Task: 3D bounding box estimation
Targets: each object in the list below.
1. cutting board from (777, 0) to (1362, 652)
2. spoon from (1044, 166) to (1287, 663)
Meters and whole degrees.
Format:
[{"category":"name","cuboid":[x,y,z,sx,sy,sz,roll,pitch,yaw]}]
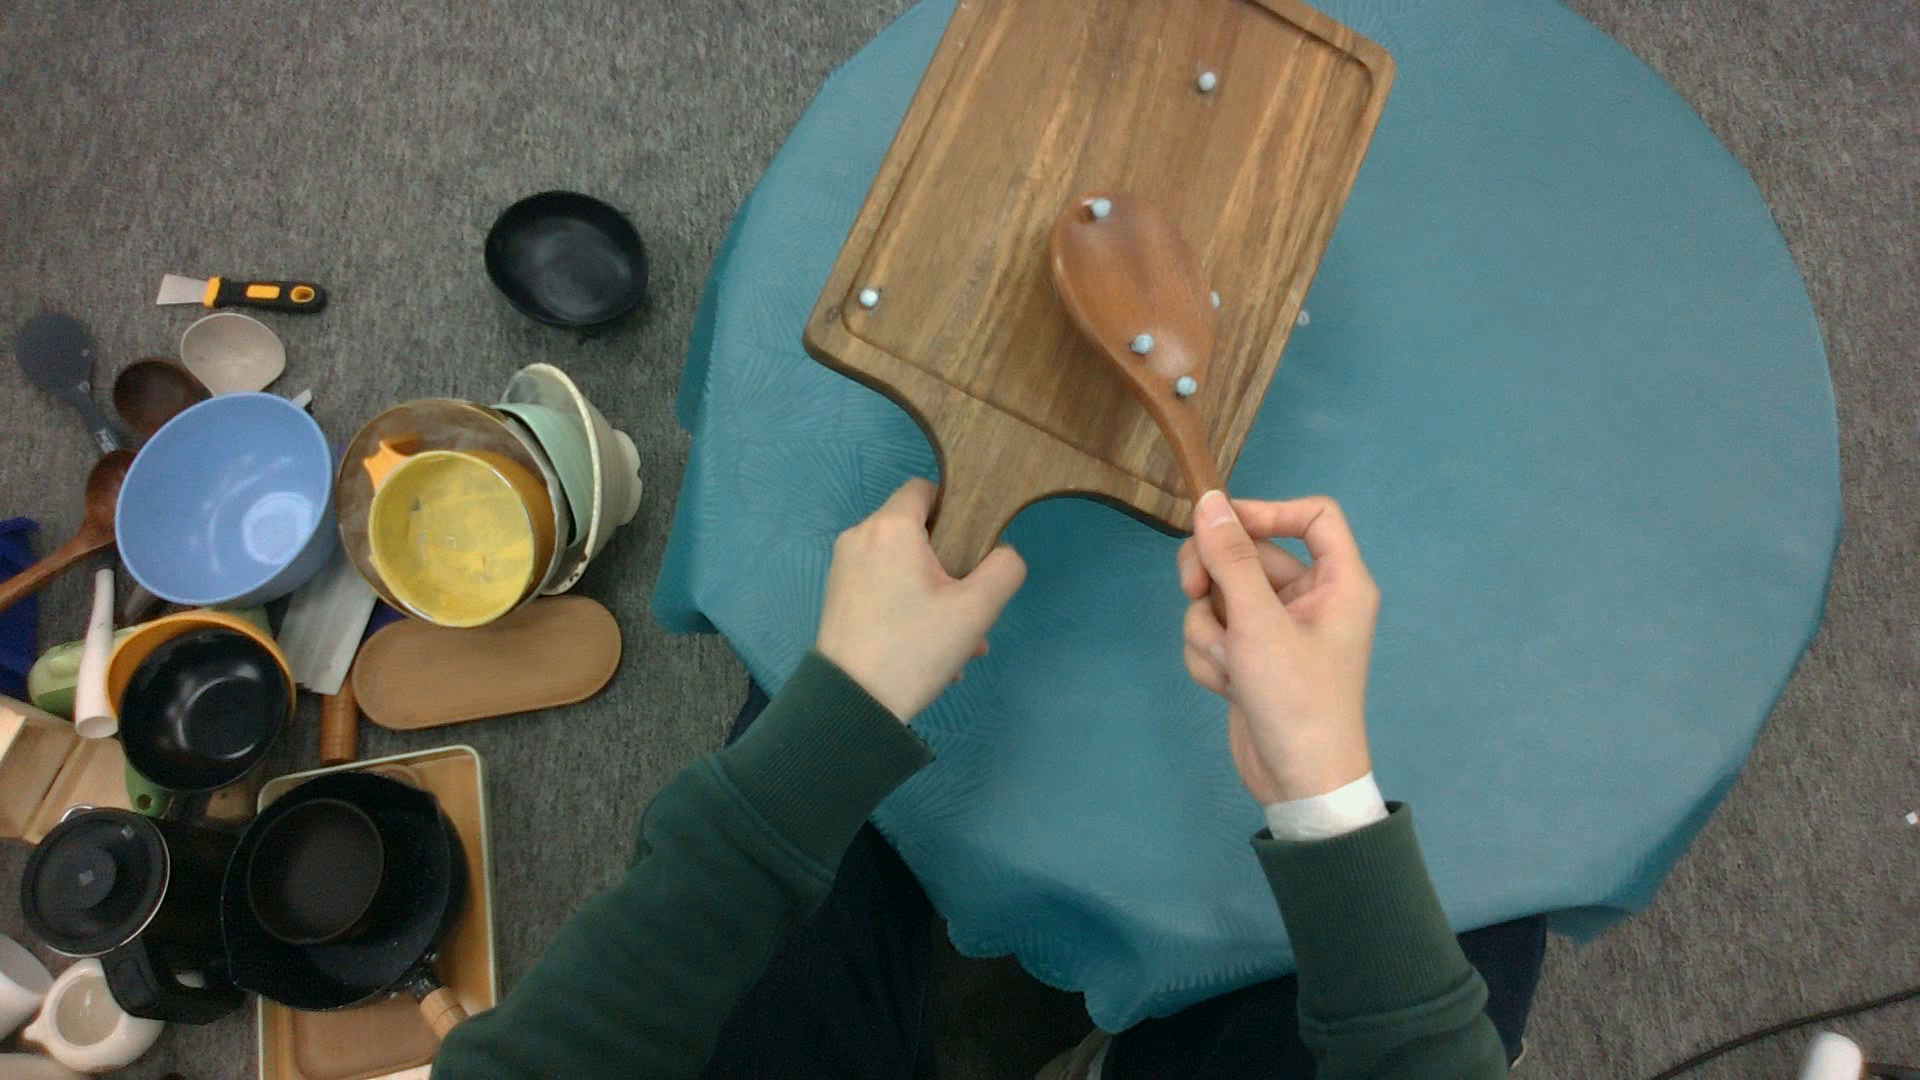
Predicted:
[{"category":"cutting board","cuboid":[0.037,-0.115,0.608,0.201,0.023,0.353,25,79,-10]},{"category":"spoon","cuboid":[0.083,-0.054,0.550,0.076,0.017,0.216,-7,71,-37]}]
